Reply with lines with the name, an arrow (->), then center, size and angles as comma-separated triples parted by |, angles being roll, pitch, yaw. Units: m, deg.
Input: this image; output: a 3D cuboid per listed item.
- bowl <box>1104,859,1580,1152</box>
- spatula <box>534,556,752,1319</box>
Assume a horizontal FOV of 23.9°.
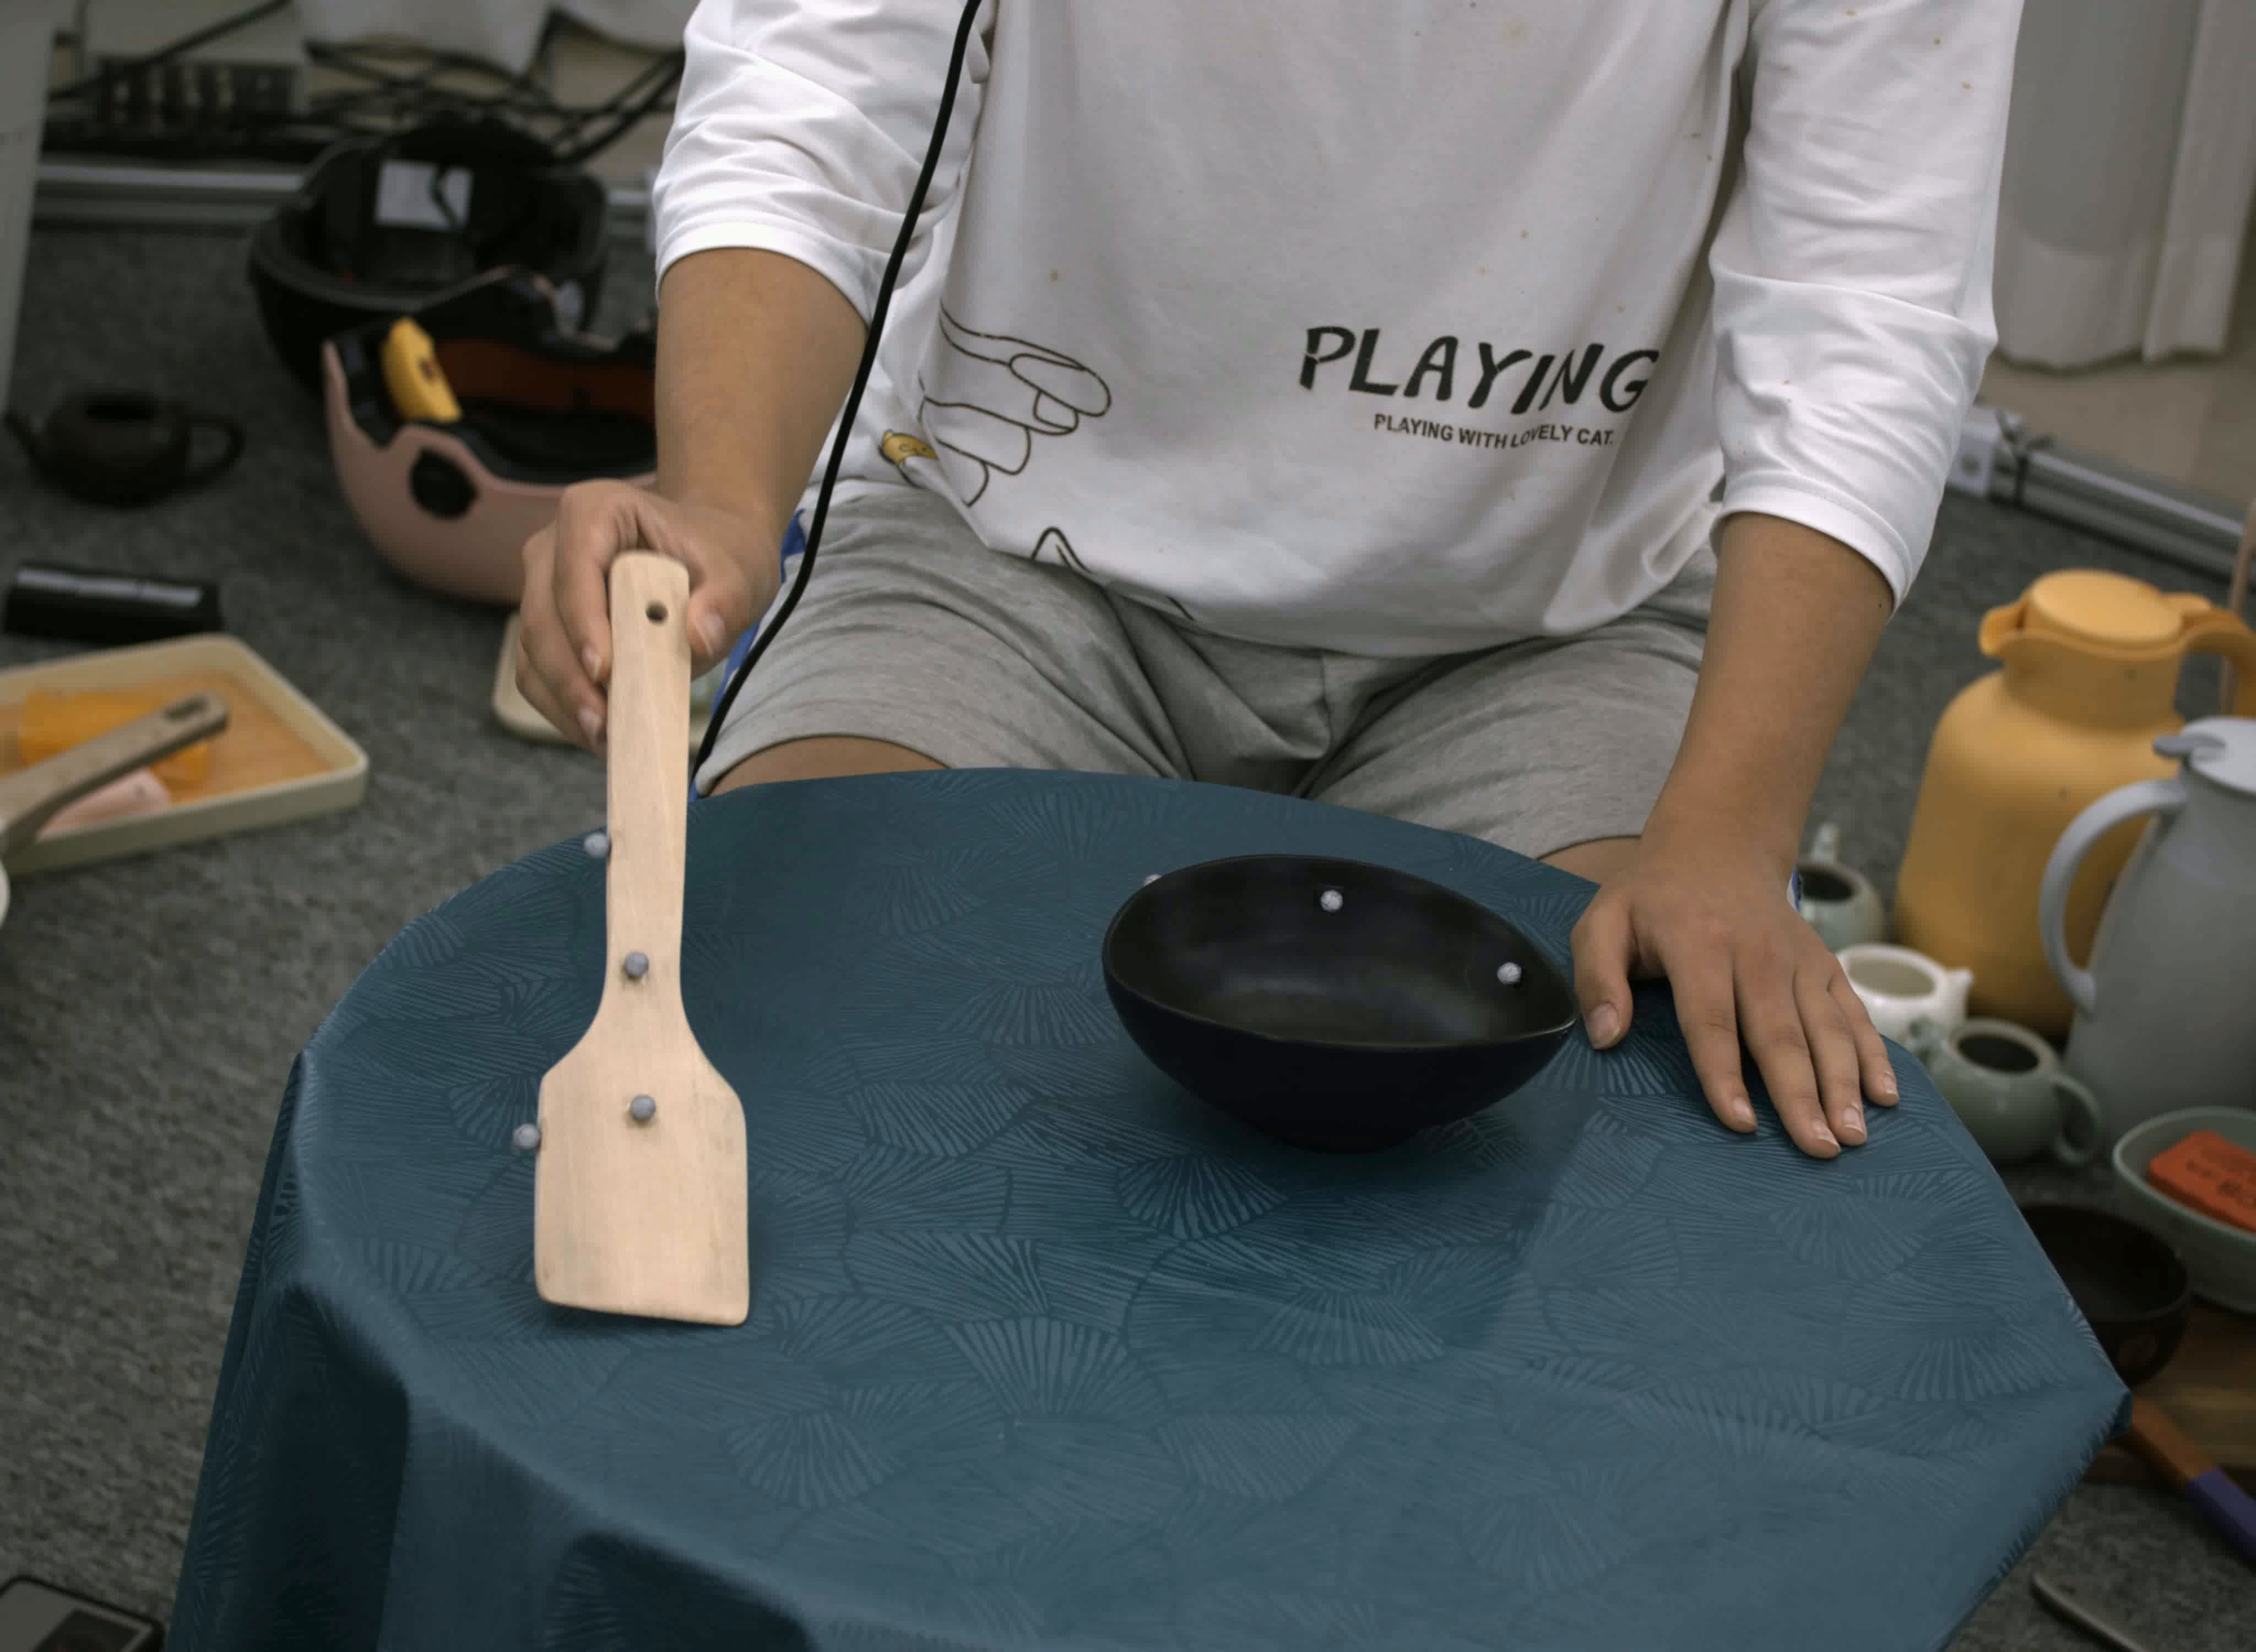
bowl -> 0.071, 0.069, 1.859 | 0.169, 0.066, 0.138 | 3, 26, -12
spatula -> -0.160, 0.031, 1.776 | 0.072, 0.010, 0.295 | 9, 56, -17
